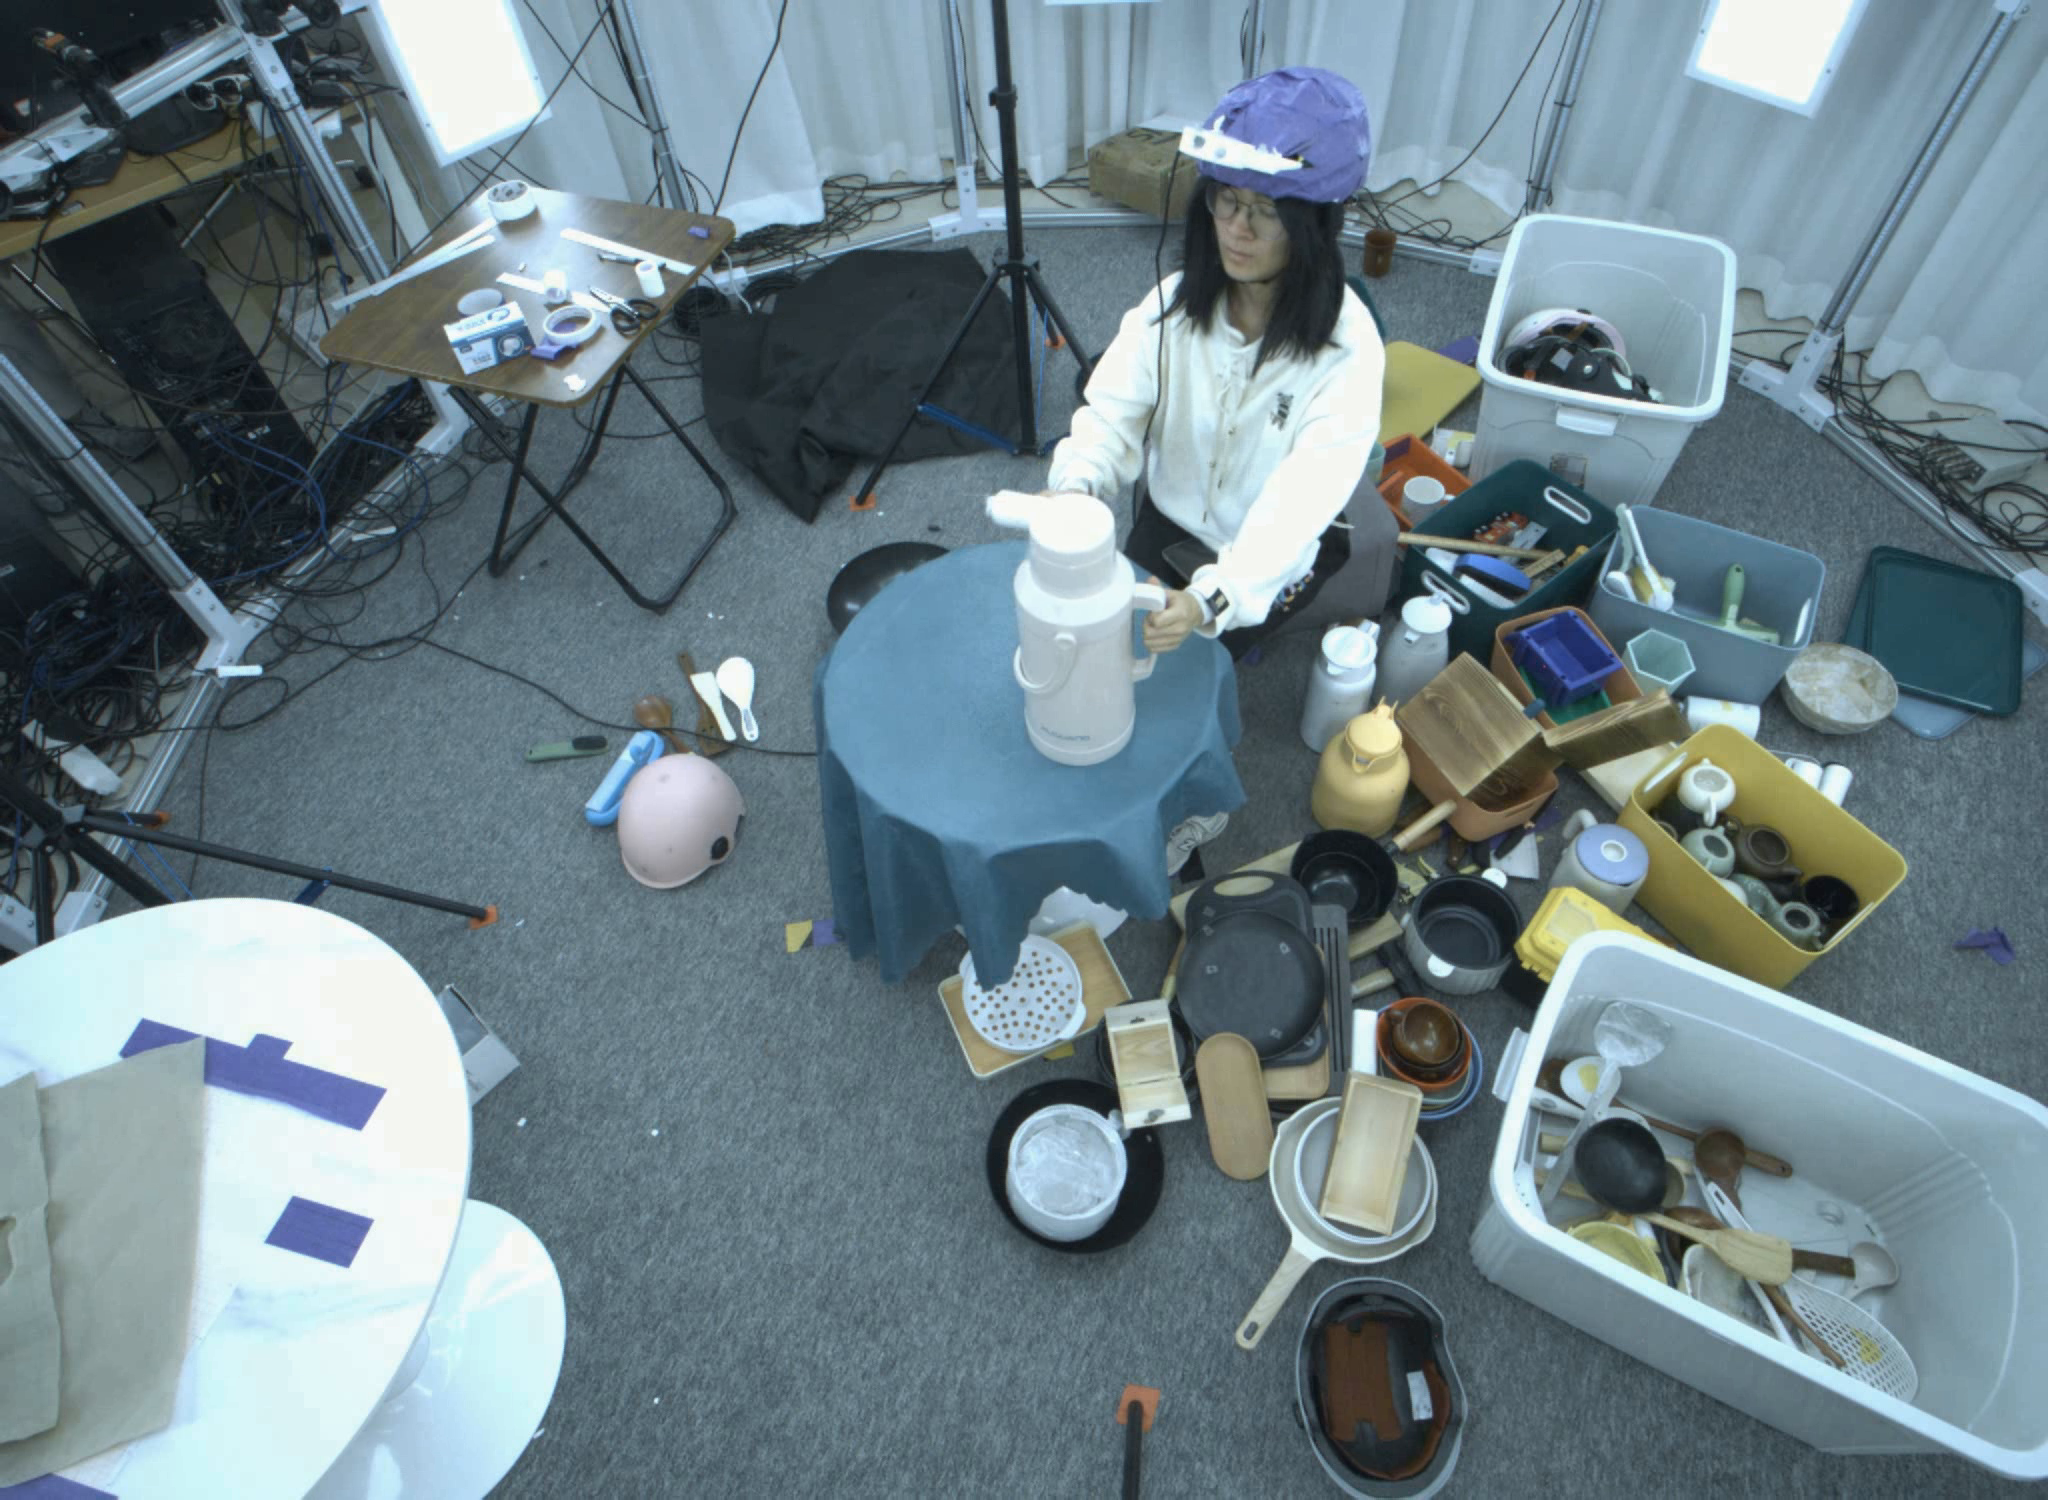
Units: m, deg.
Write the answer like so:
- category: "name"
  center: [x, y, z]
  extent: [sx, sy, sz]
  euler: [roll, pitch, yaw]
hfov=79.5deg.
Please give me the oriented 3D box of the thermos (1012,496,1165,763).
- category: "thermos"
  center: [0.082, -0.155, 1.651]
  extent: [0.206, 0.411, 0.174]
  euler: [5, 55, 7]

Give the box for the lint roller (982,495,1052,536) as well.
- category: "lint roller"
  center: [0.029, -0.338, 1.726]
  extent: [0.131, 0.050, 0.182]
  euler: [15, 25, 17]
